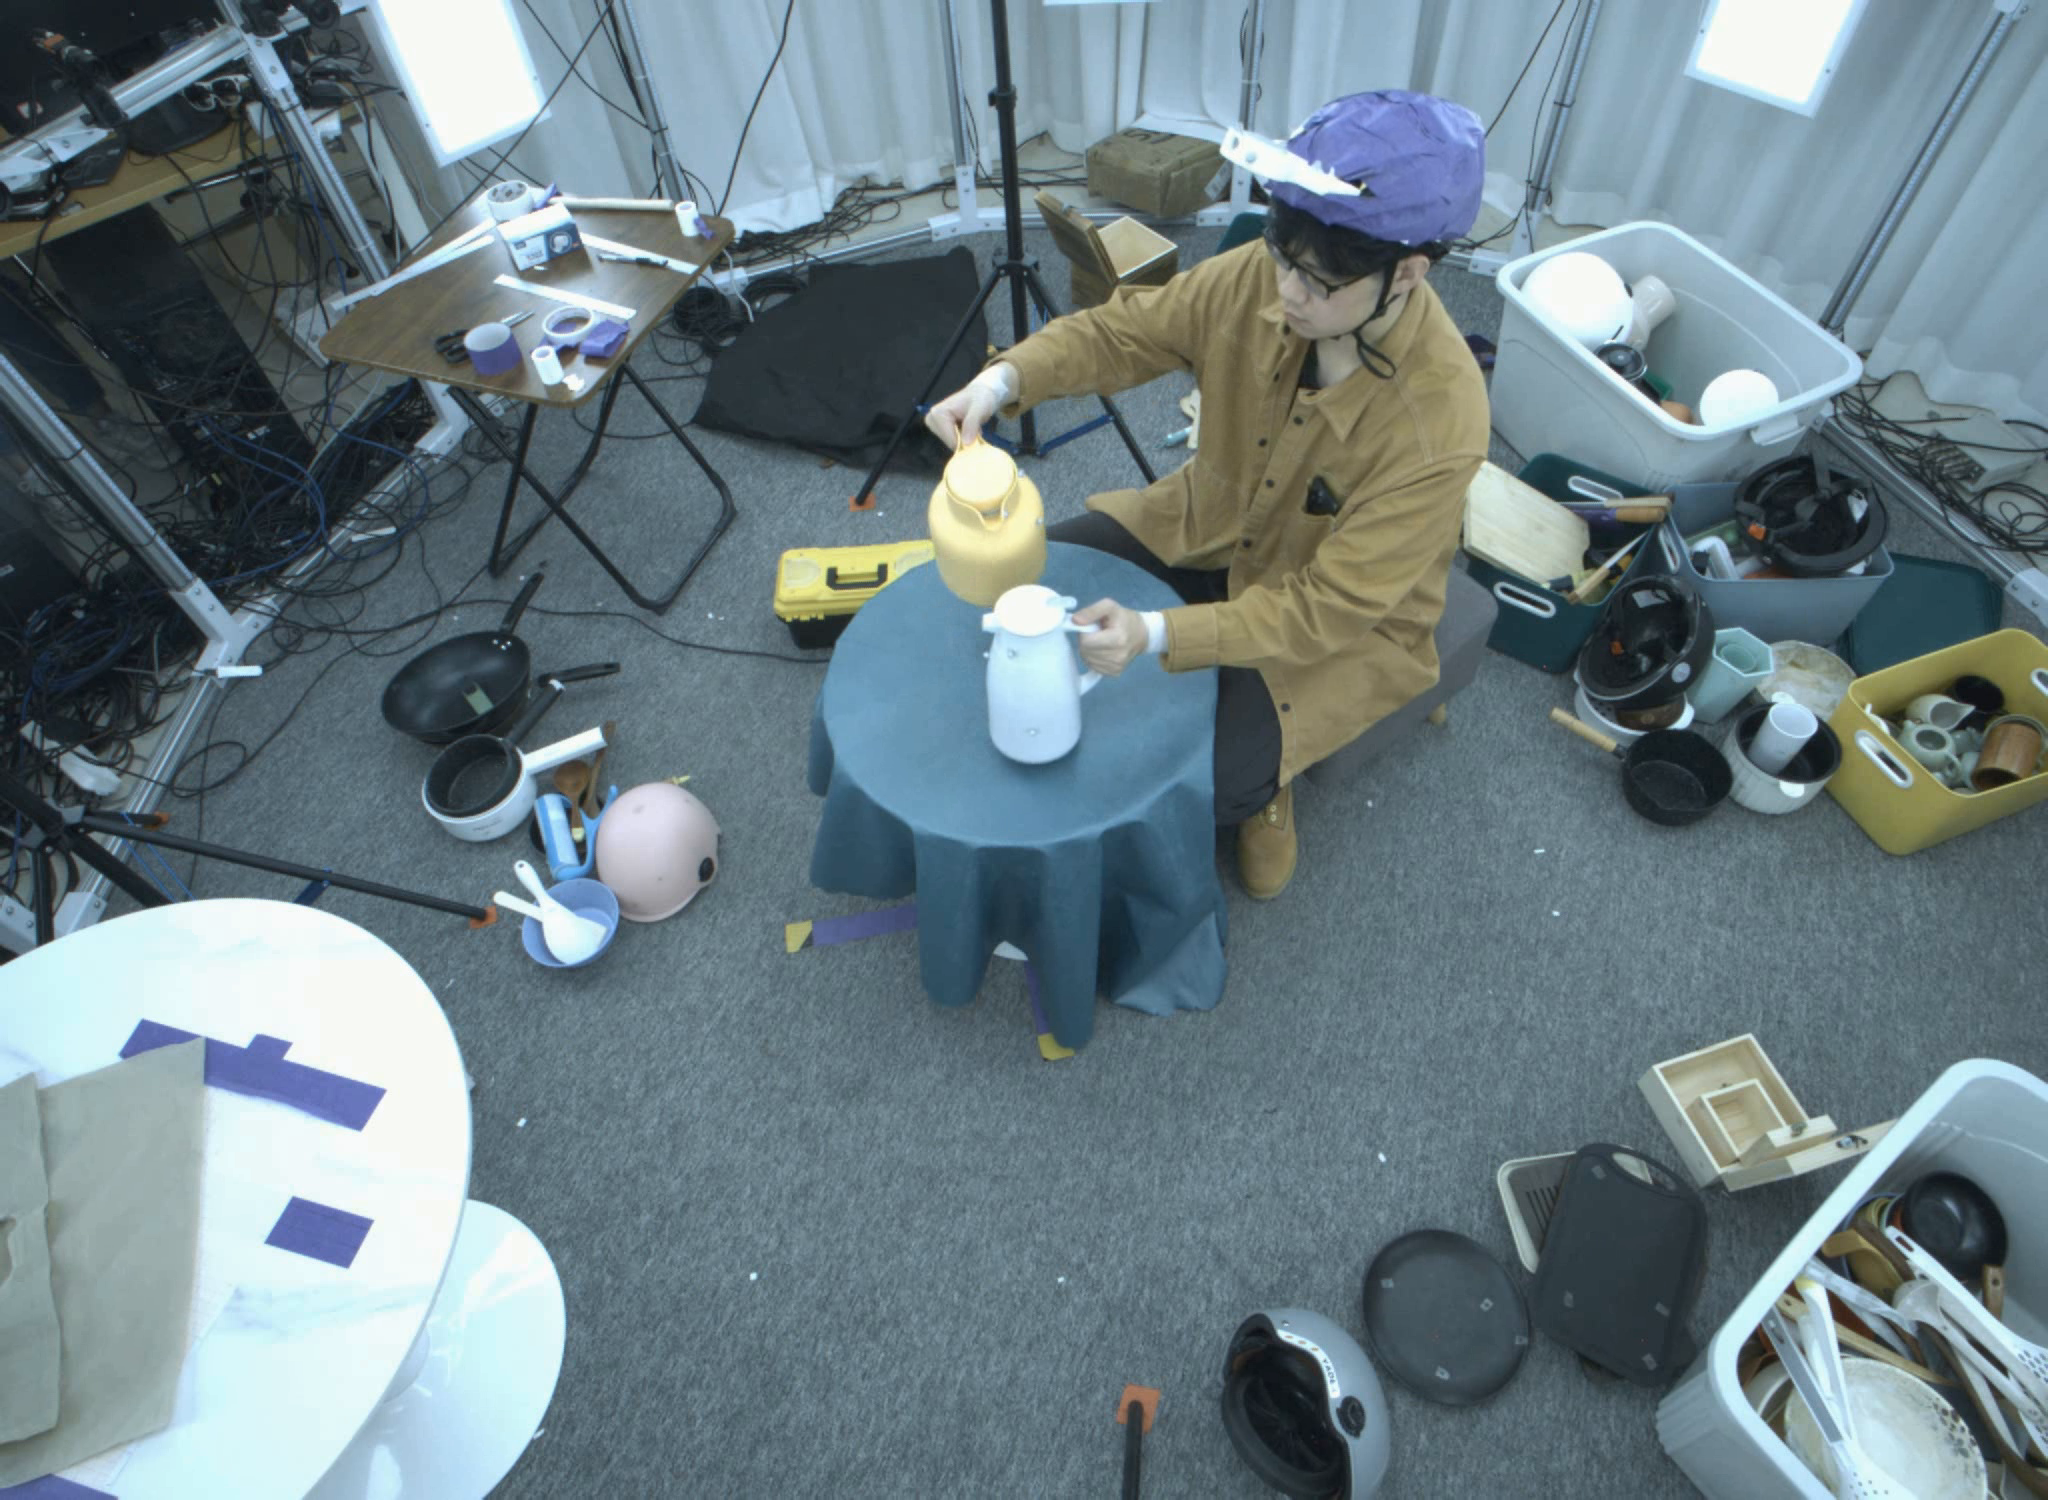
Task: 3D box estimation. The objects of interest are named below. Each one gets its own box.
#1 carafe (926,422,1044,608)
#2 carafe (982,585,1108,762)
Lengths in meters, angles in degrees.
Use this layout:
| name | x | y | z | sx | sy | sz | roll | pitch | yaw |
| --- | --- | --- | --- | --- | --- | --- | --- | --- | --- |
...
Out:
| name | x | y | z | sx | sy | sz | roll | pitch | yaw |
| --- | --- | --- | --- | --- | --- | --- | --- | --- | --- |
| carafe | -0.059 | -0.334 | 1.703 | 0.164 | 0.262 | 0.200 | -12 | 71 | -5 |
| carafe | 0.030 | -0.112 | 1.673 | 0.168 | 0.251 | 0.131 | -5 | 52 | -3 |
